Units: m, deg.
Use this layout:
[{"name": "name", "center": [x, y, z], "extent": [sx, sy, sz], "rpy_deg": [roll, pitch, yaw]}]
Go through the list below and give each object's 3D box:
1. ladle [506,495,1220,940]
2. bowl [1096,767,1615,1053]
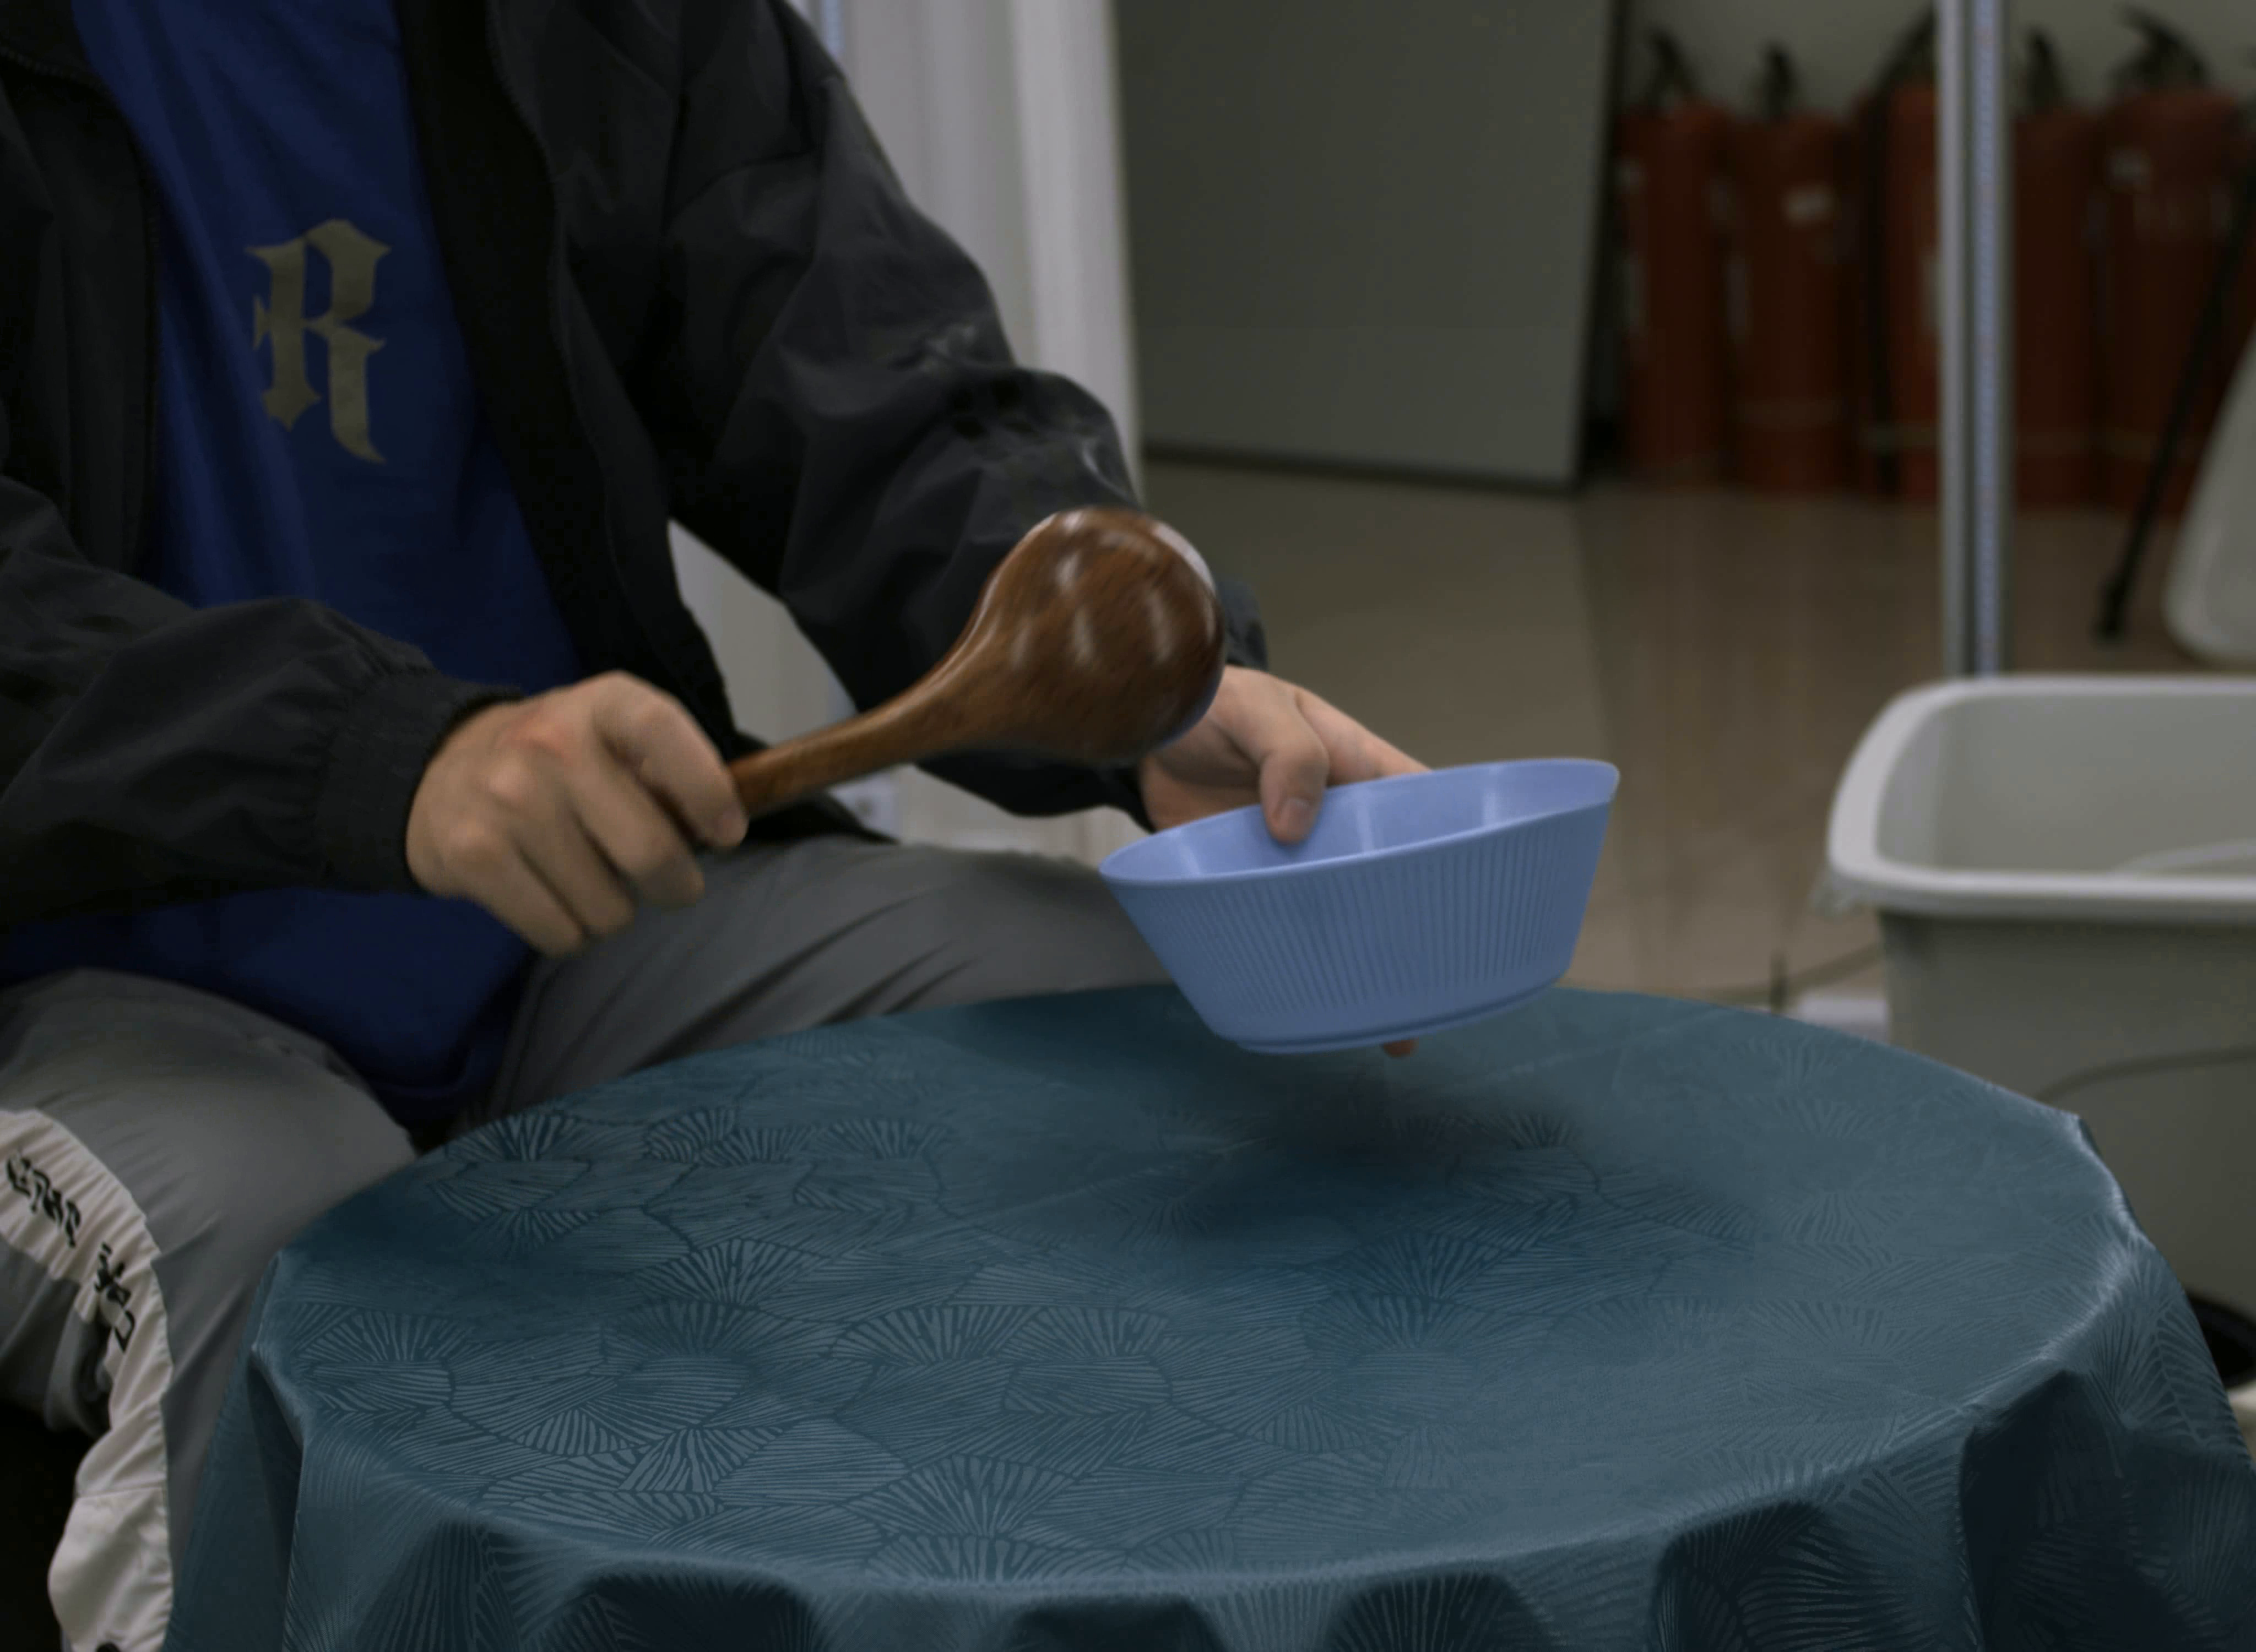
[{"name": "ladle", "center": [-0.087, -0.027, 1.722], "extent": [0.276, 0.082, 0.075], "rpy_deg": [-24, -1, 40]}, {"name": "bowl", "center": [0.080, 0.029, 1.776], "extent": [0.174, 0.071, 0.176], "rpy_deg": [-11, 6, 0]}]
